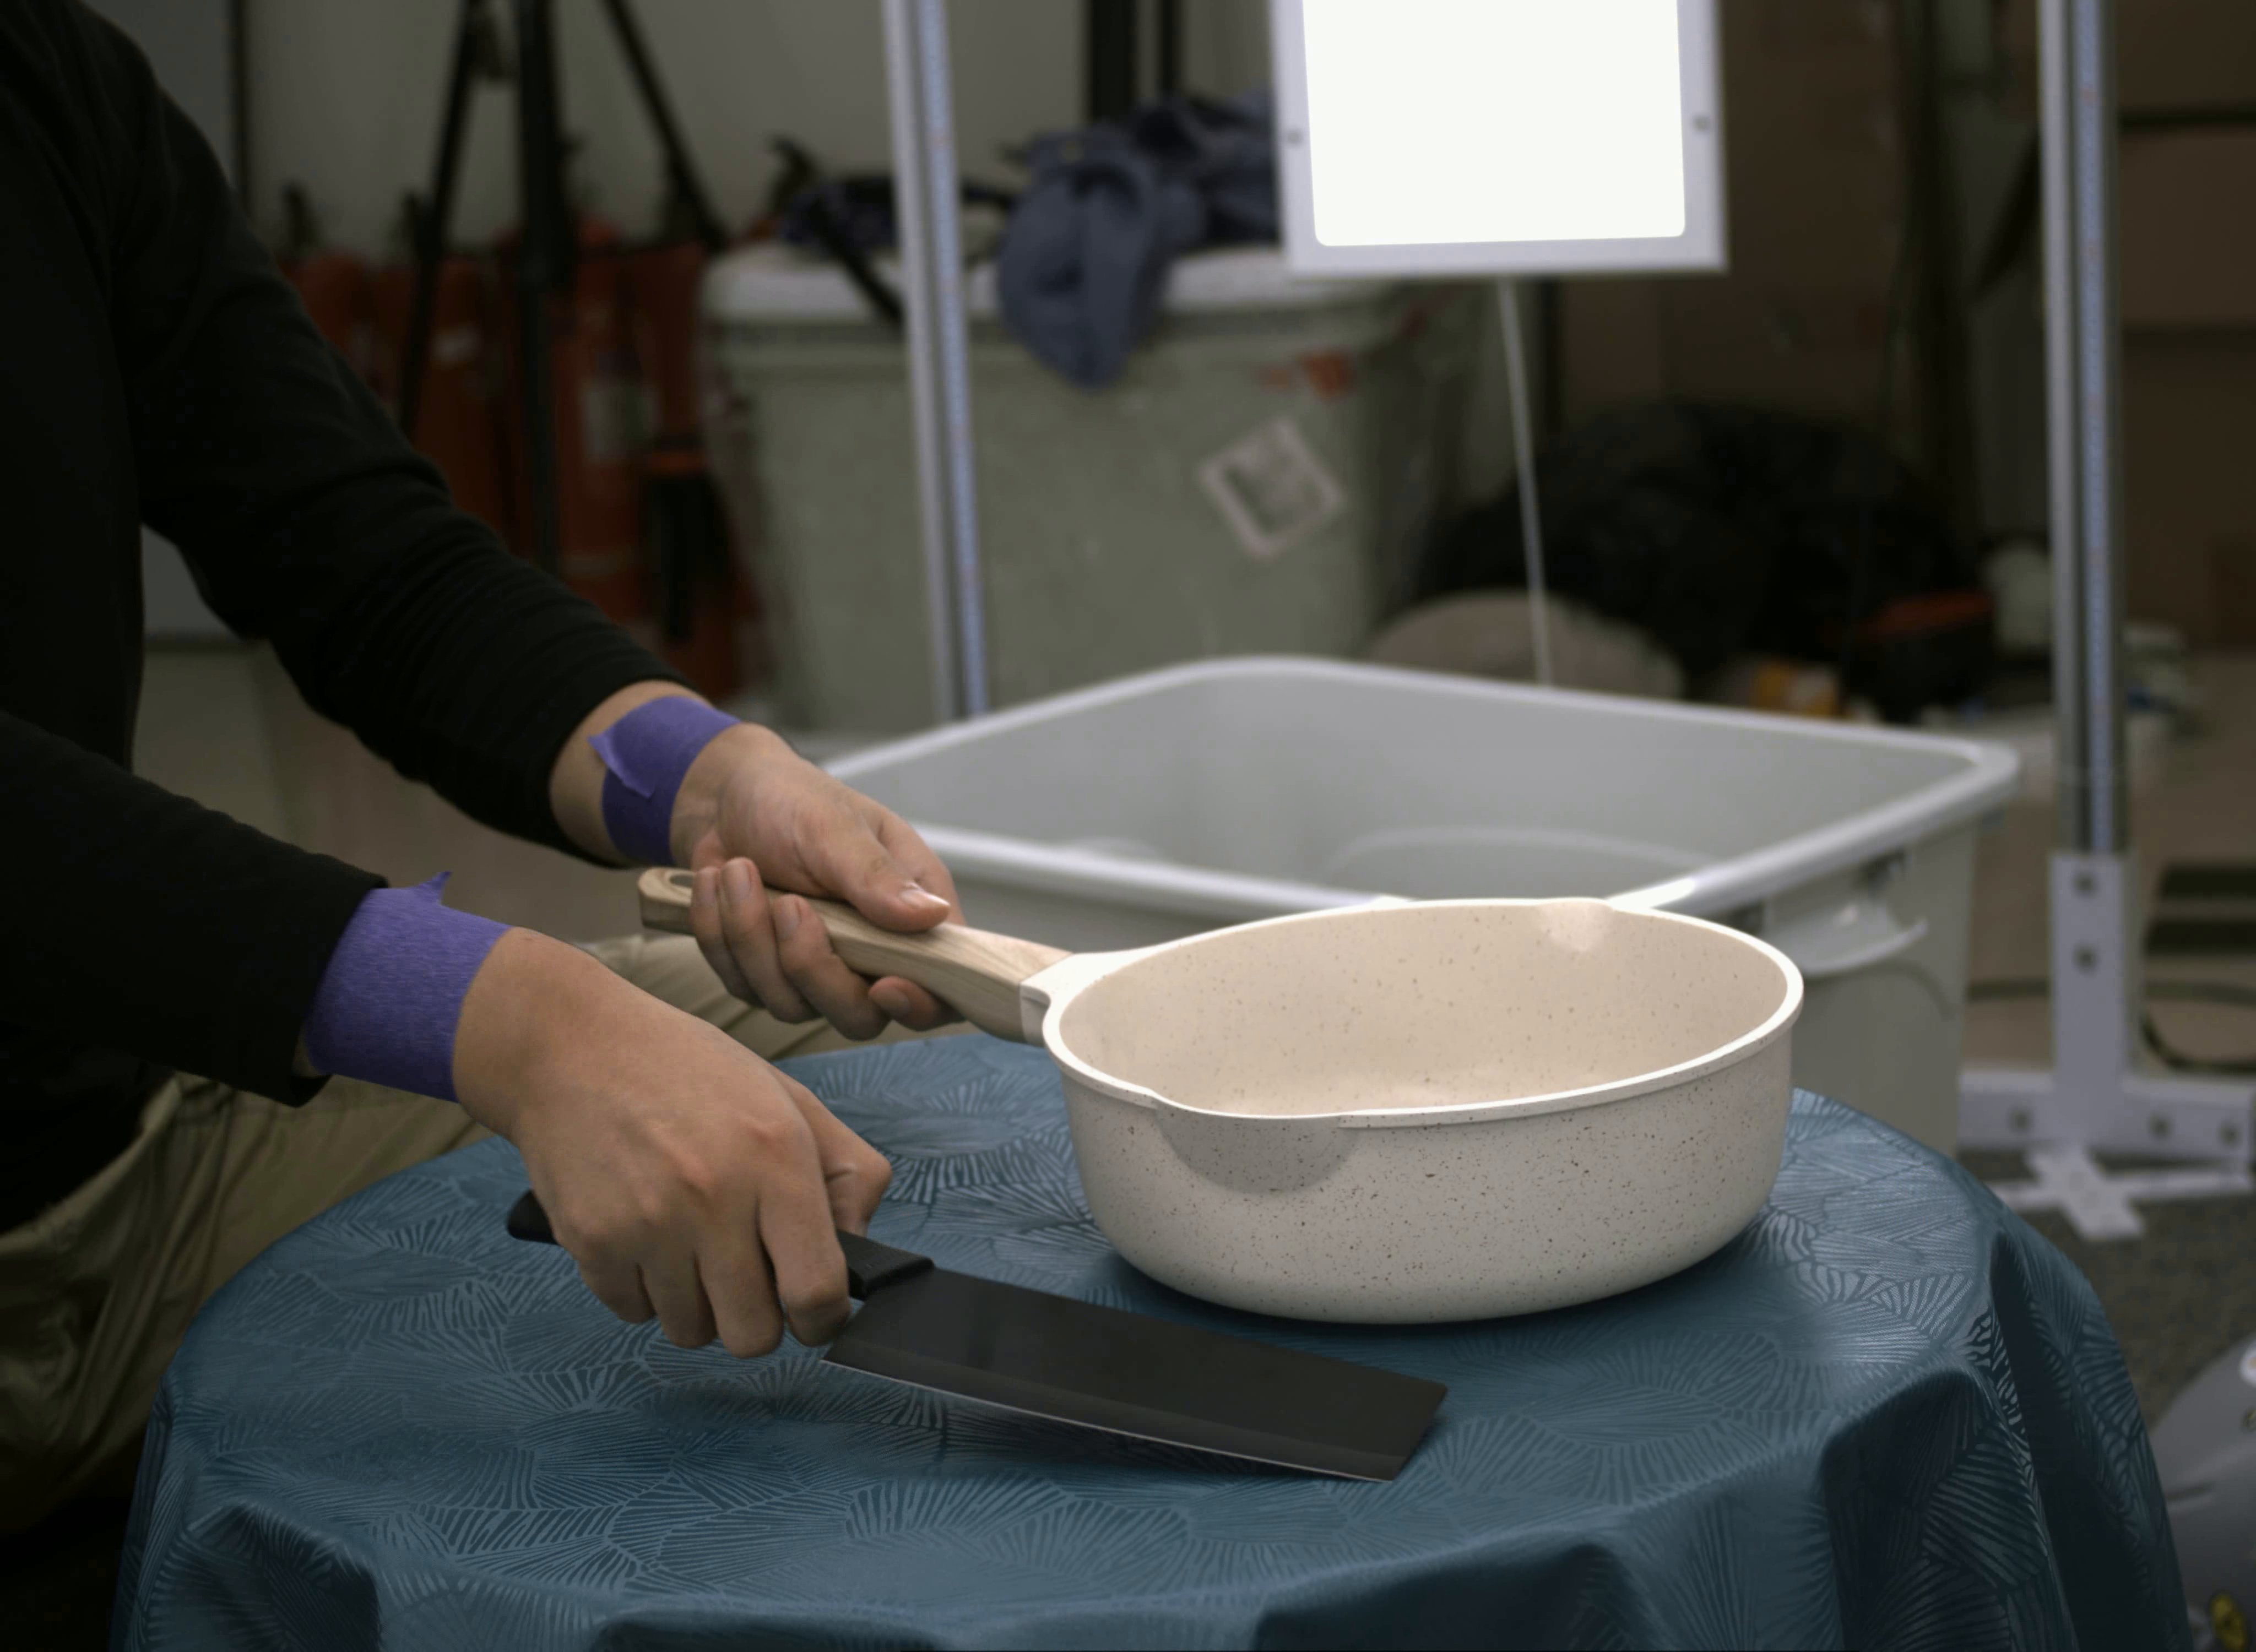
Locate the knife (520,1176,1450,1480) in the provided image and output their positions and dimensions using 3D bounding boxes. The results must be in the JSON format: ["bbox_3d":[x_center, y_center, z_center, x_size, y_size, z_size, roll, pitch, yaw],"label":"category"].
[{"bbox_3d":[-0.050,0.152,1.683,0.306,0.021,0.079,13,26,24],"label":"knife"}]

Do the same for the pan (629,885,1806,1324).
[{"bbox_3d":[0.020,0.082,1.866,0.443,0.102,0.257,3,18,31],"label":"pan"}]
